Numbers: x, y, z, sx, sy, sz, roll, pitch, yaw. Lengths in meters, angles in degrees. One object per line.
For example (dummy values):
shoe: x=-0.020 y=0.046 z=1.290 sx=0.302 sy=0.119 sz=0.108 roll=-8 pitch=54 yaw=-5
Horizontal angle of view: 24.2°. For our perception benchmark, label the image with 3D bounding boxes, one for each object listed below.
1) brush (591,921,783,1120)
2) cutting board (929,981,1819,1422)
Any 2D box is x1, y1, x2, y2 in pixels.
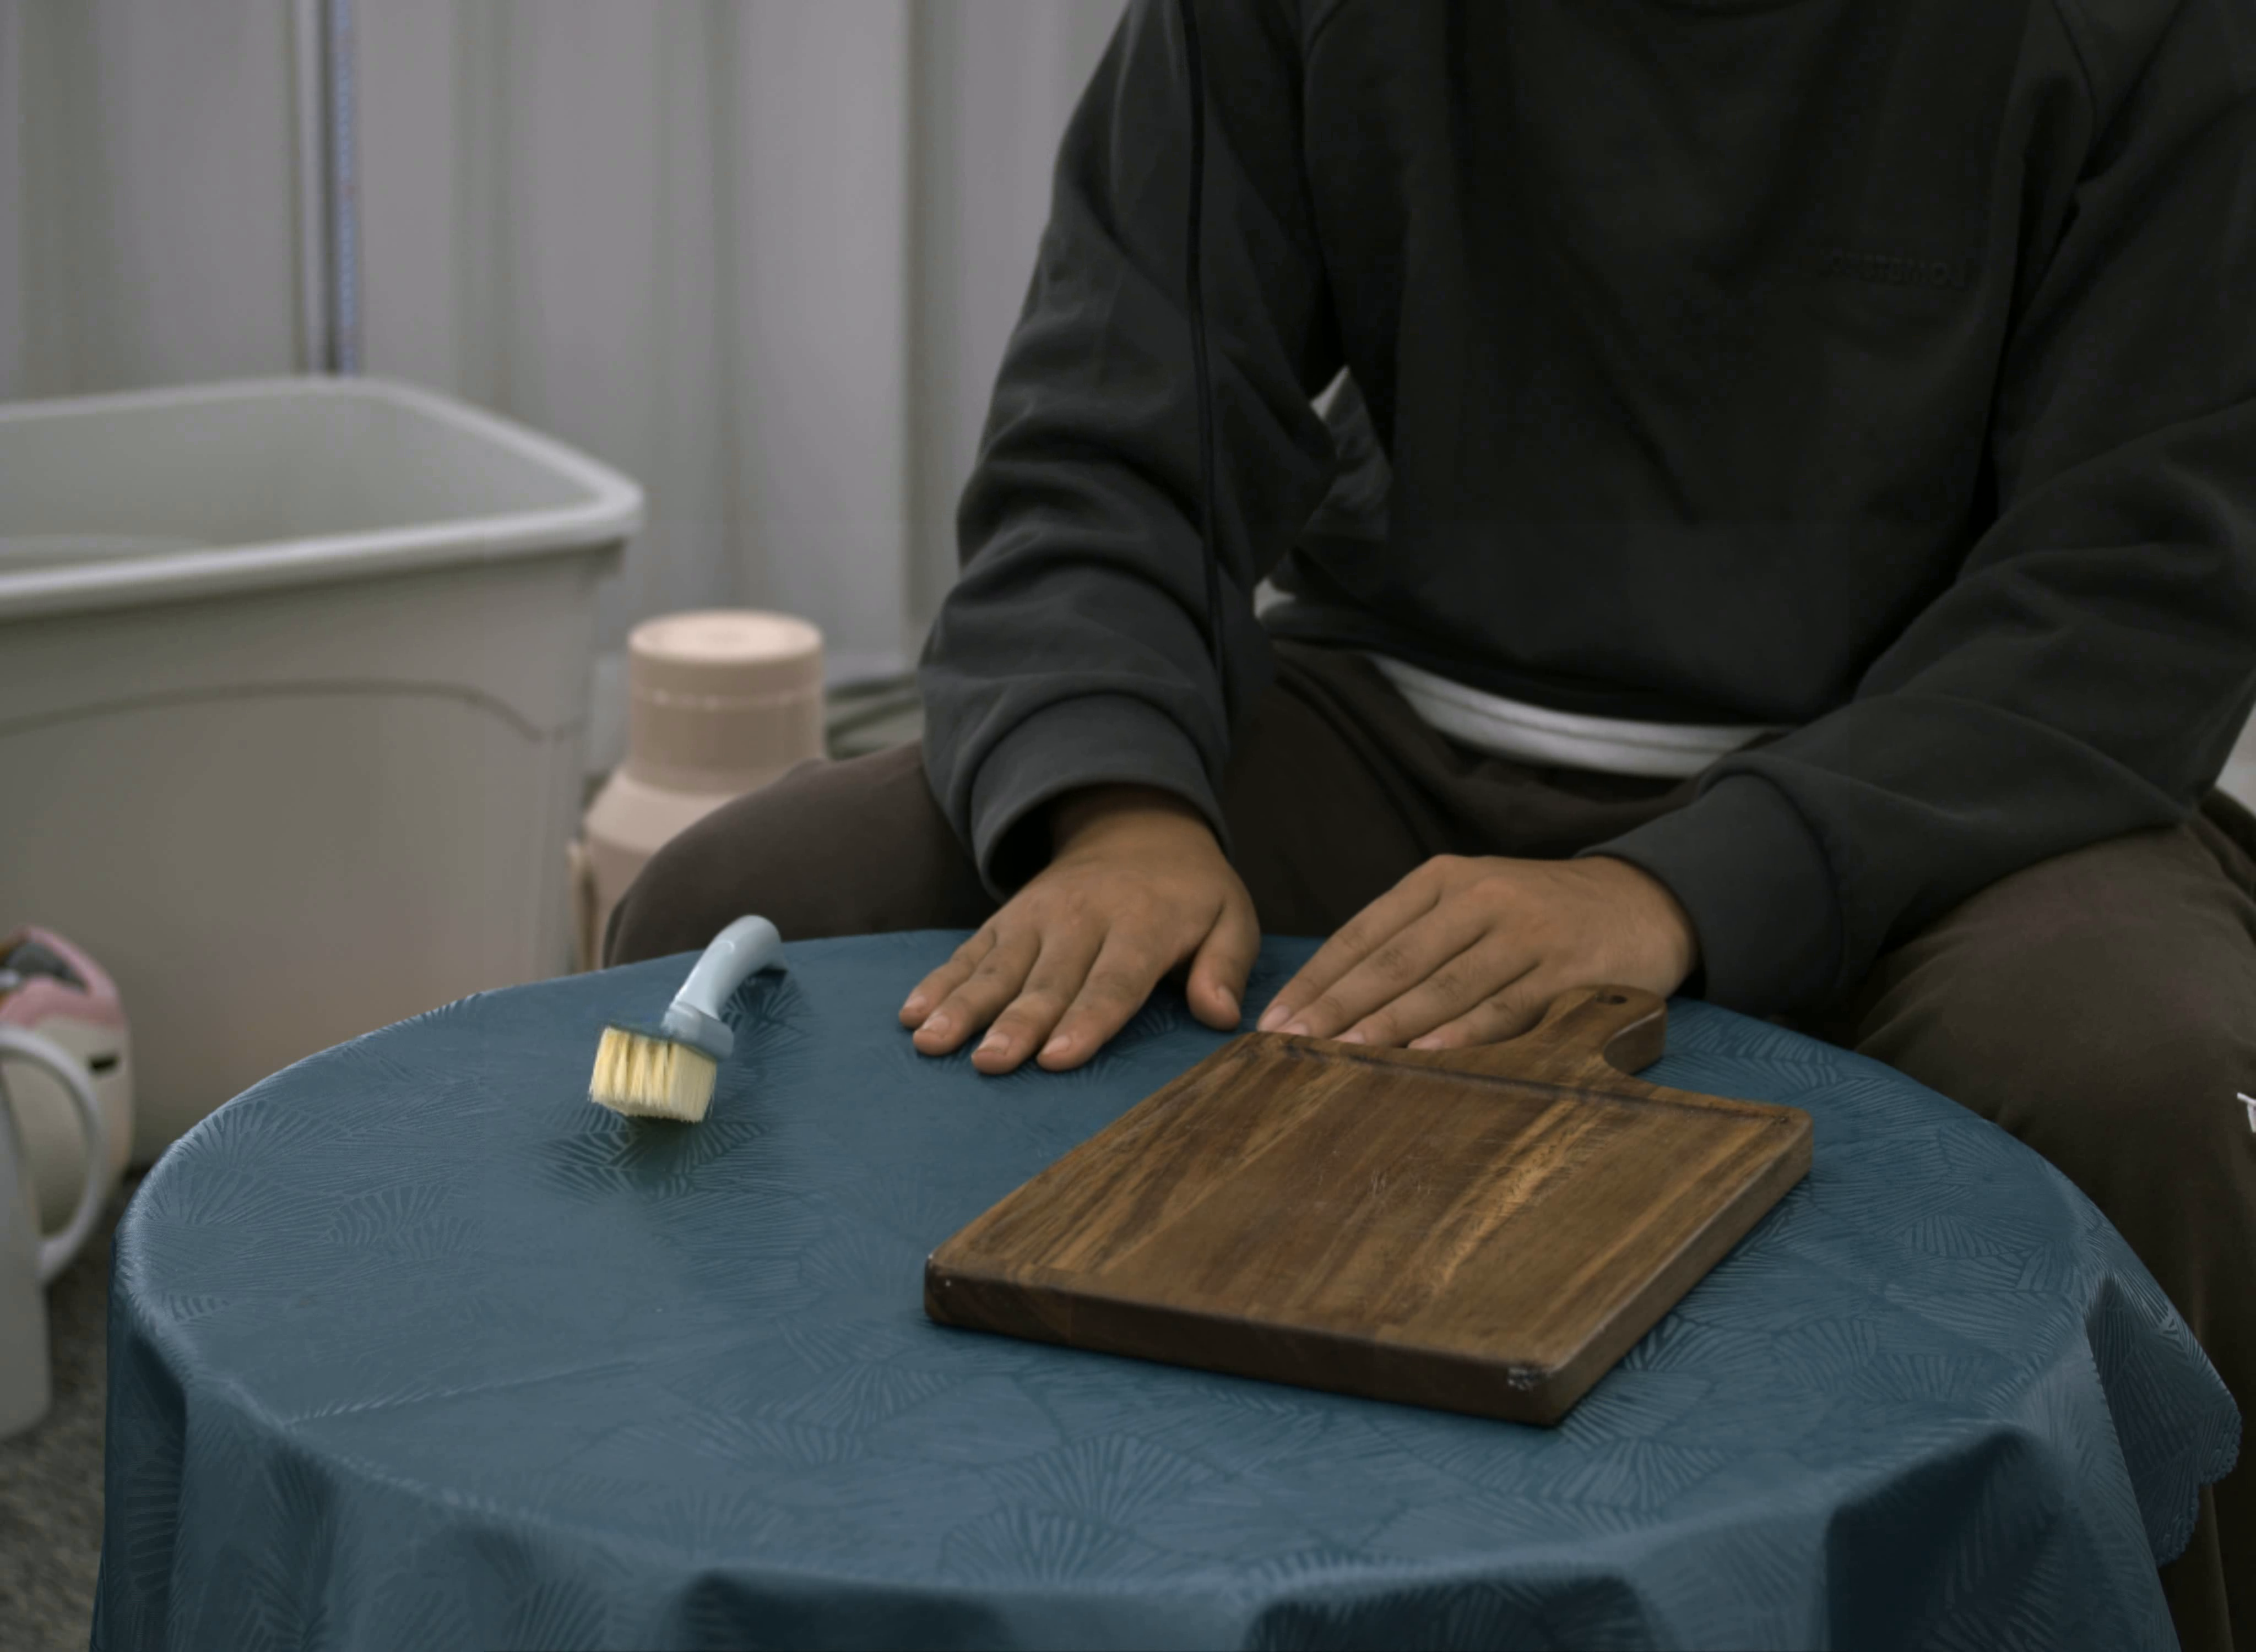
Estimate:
brush: x=-0.142 y=0.065 z=1.734 sx=0.037 sy=0.050 sz=0.228 roll=8 pitch=7 yaw=4
cutting board: x=0.100 y=0.103 z=1.626 sx=0.199 sy=0.023 sz=0.353 roll=8 pitch=17 yaw=23
